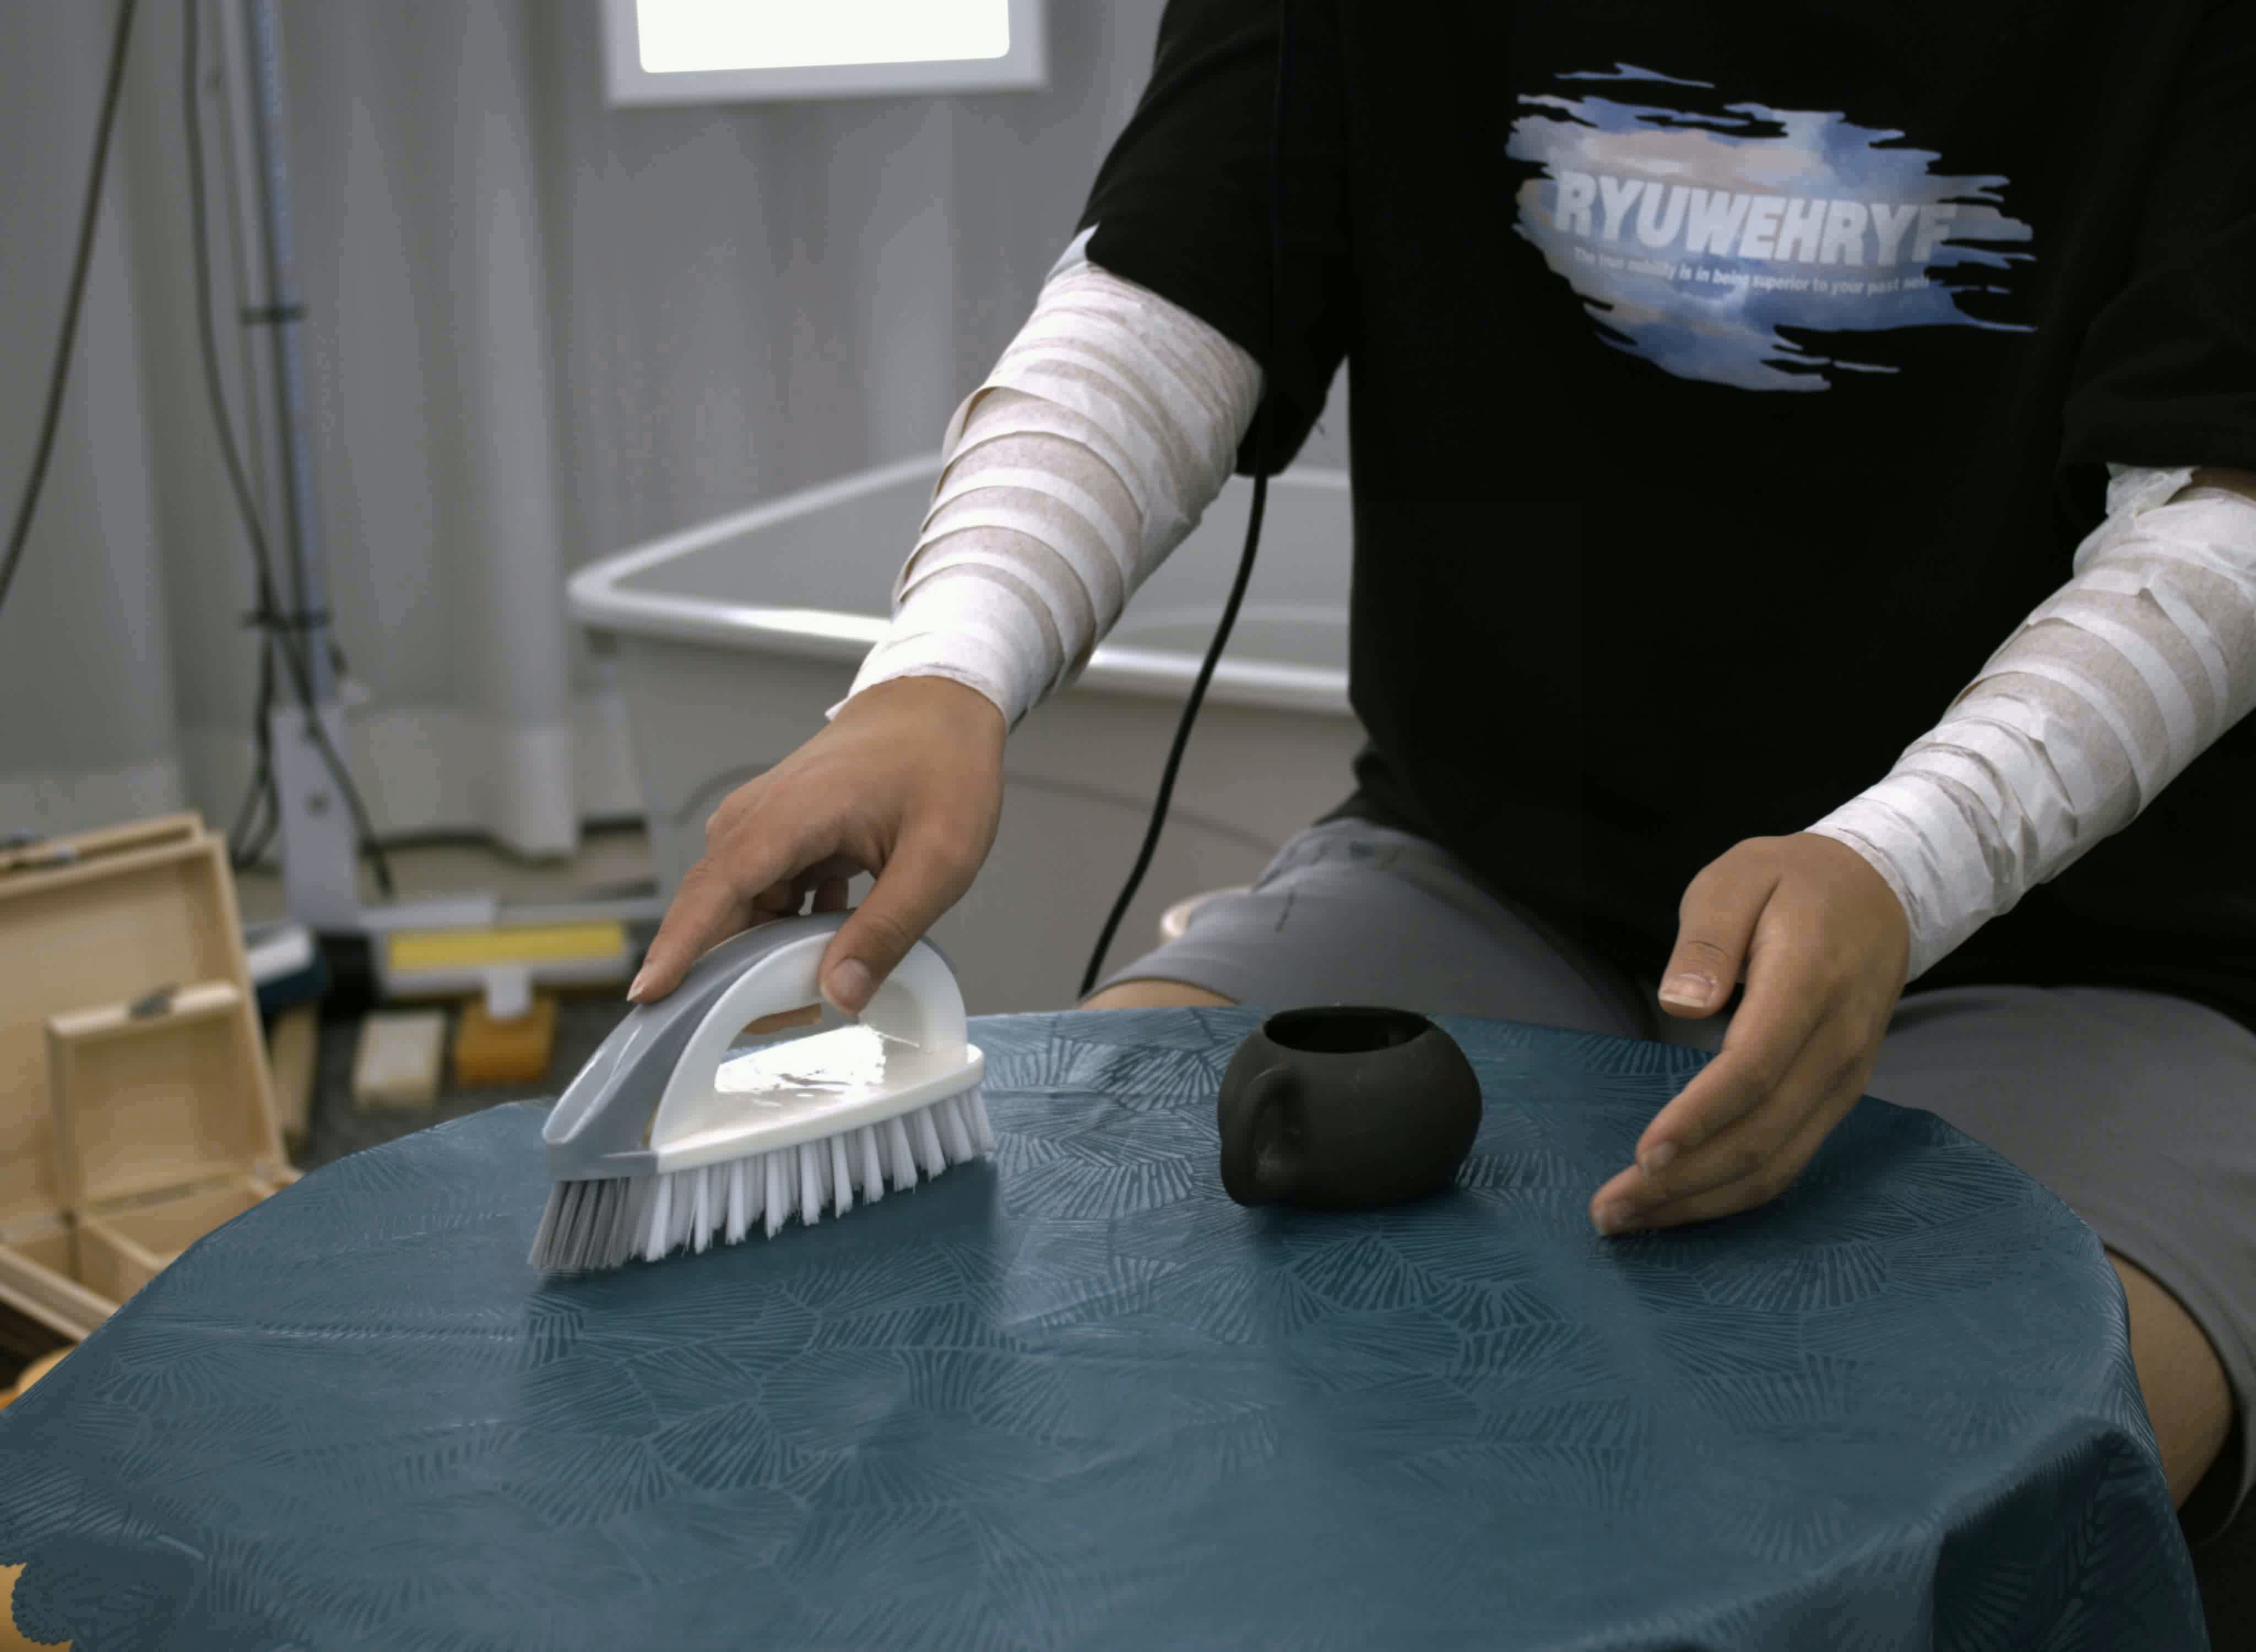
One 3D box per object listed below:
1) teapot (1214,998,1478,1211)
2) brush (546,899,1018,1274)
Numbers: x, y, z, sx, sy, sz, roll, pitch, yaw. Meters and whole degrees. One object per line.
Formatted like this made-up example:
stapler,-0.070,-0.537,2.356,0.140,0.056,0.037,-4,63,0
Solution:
teapot,0.061,0.090,1.698,0.083,0.053,0.114,8,16,34
brush,-0.115,0.077,1.698,0.175,0.094,0.062,-17,16,-41
